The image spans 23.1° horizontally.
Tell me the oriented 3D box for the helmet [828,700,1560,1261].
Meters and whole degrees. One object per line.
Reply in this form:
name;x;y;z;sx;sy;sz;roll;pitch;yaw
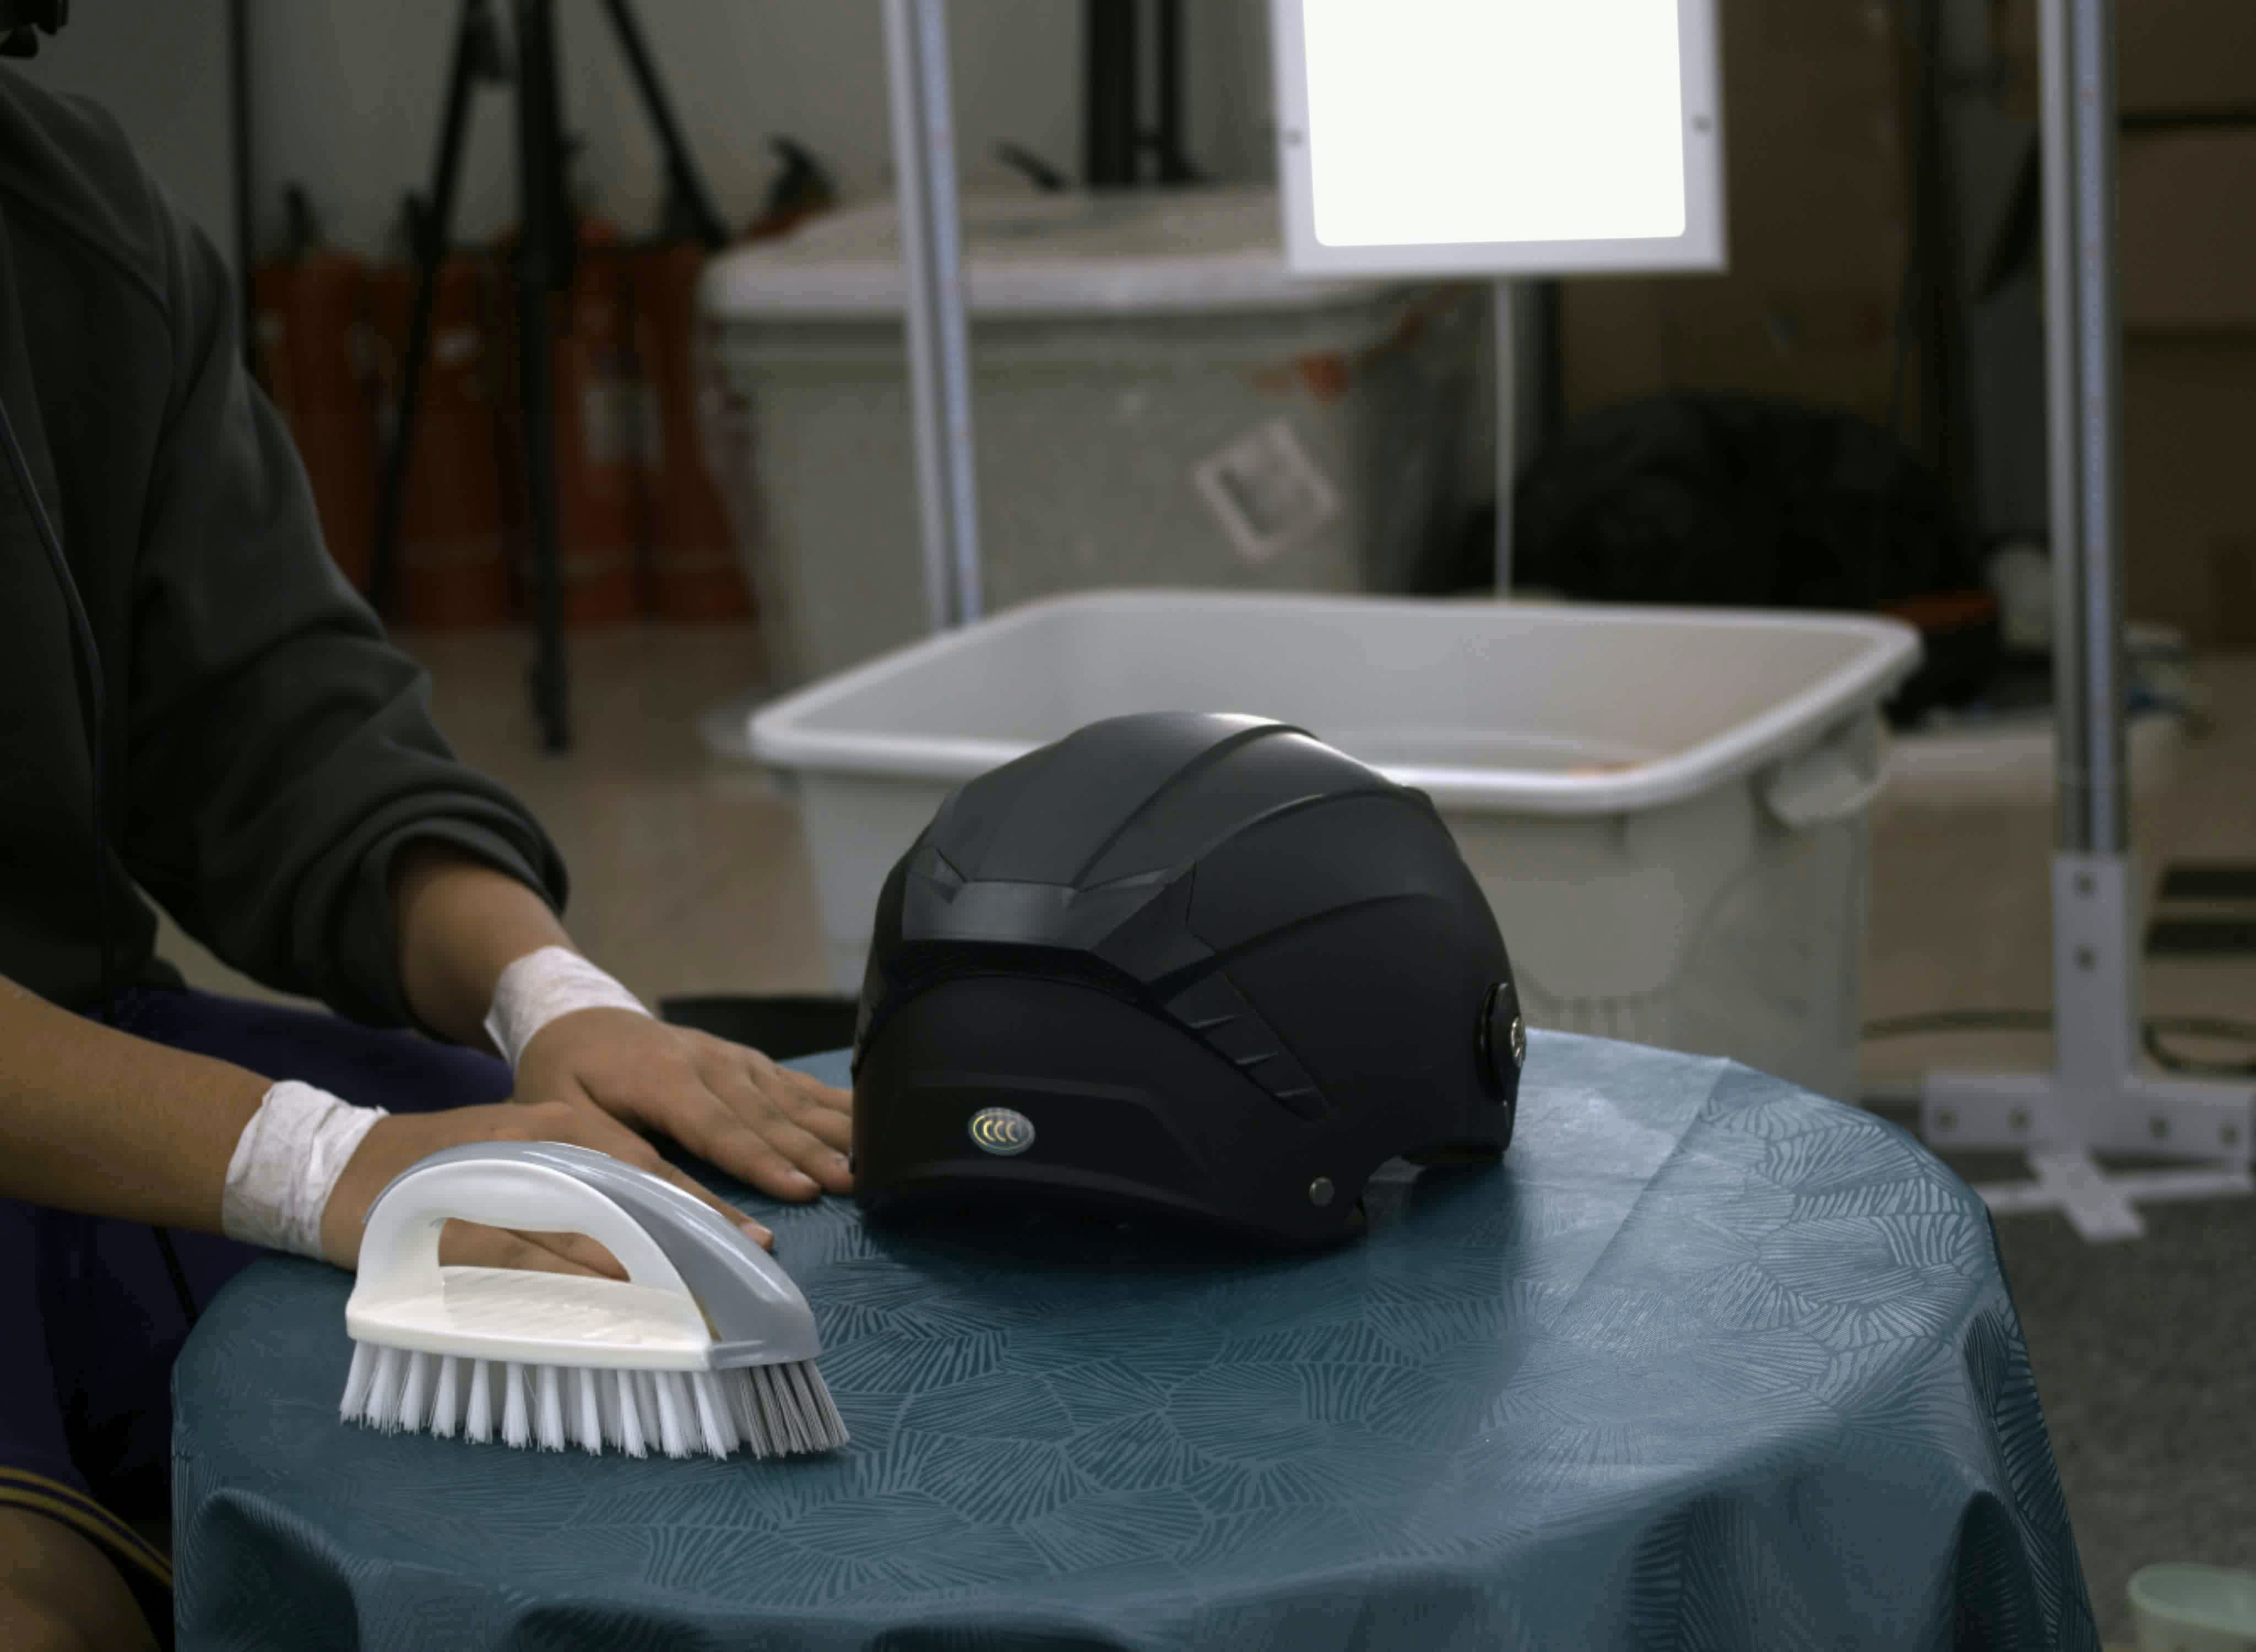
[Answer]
helmet;0.019;0.043;1.899;0.251;0.173;0.270;4;20;29

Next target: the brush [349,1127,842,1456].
brush;-0.165;0.142;1.705;0.179;0.094;0.060;6;19;33
